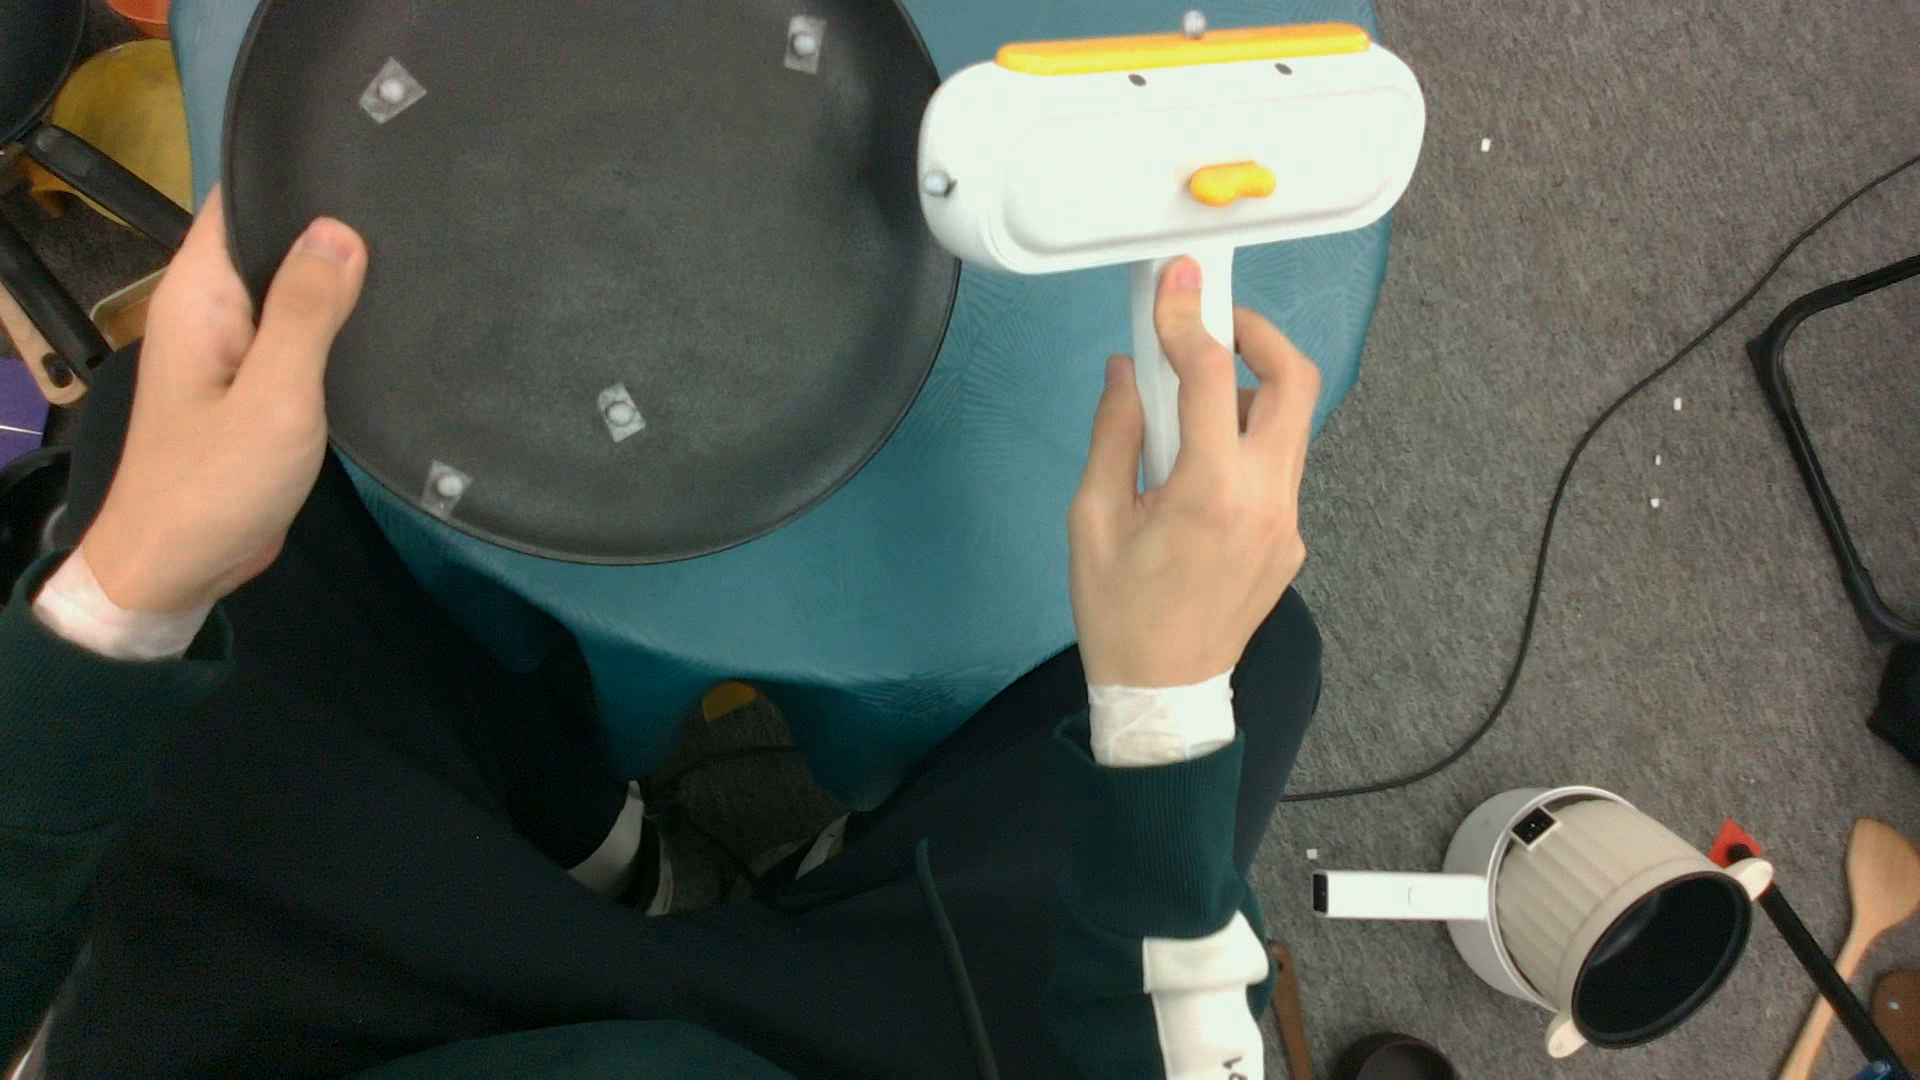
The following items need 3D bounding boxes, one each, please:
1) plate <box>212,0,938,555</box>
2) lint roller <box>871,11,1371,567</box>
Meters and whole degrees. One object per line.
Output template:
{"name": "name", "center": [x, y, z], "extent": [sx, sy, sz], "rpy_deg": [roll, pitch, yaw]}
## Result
{"name": "plate", "center": [-0.119, -0.116, 0.475], "extent": [0.245, 0.023, 0.244], "rpy_deg": [-5, 102, -24]}
{"name": "lint roller", "center": [0.070, -0.083, 0.505], "extent": [0.193, 0.074, 0.191], "rpy_deg": [-21, 121, -26]}
